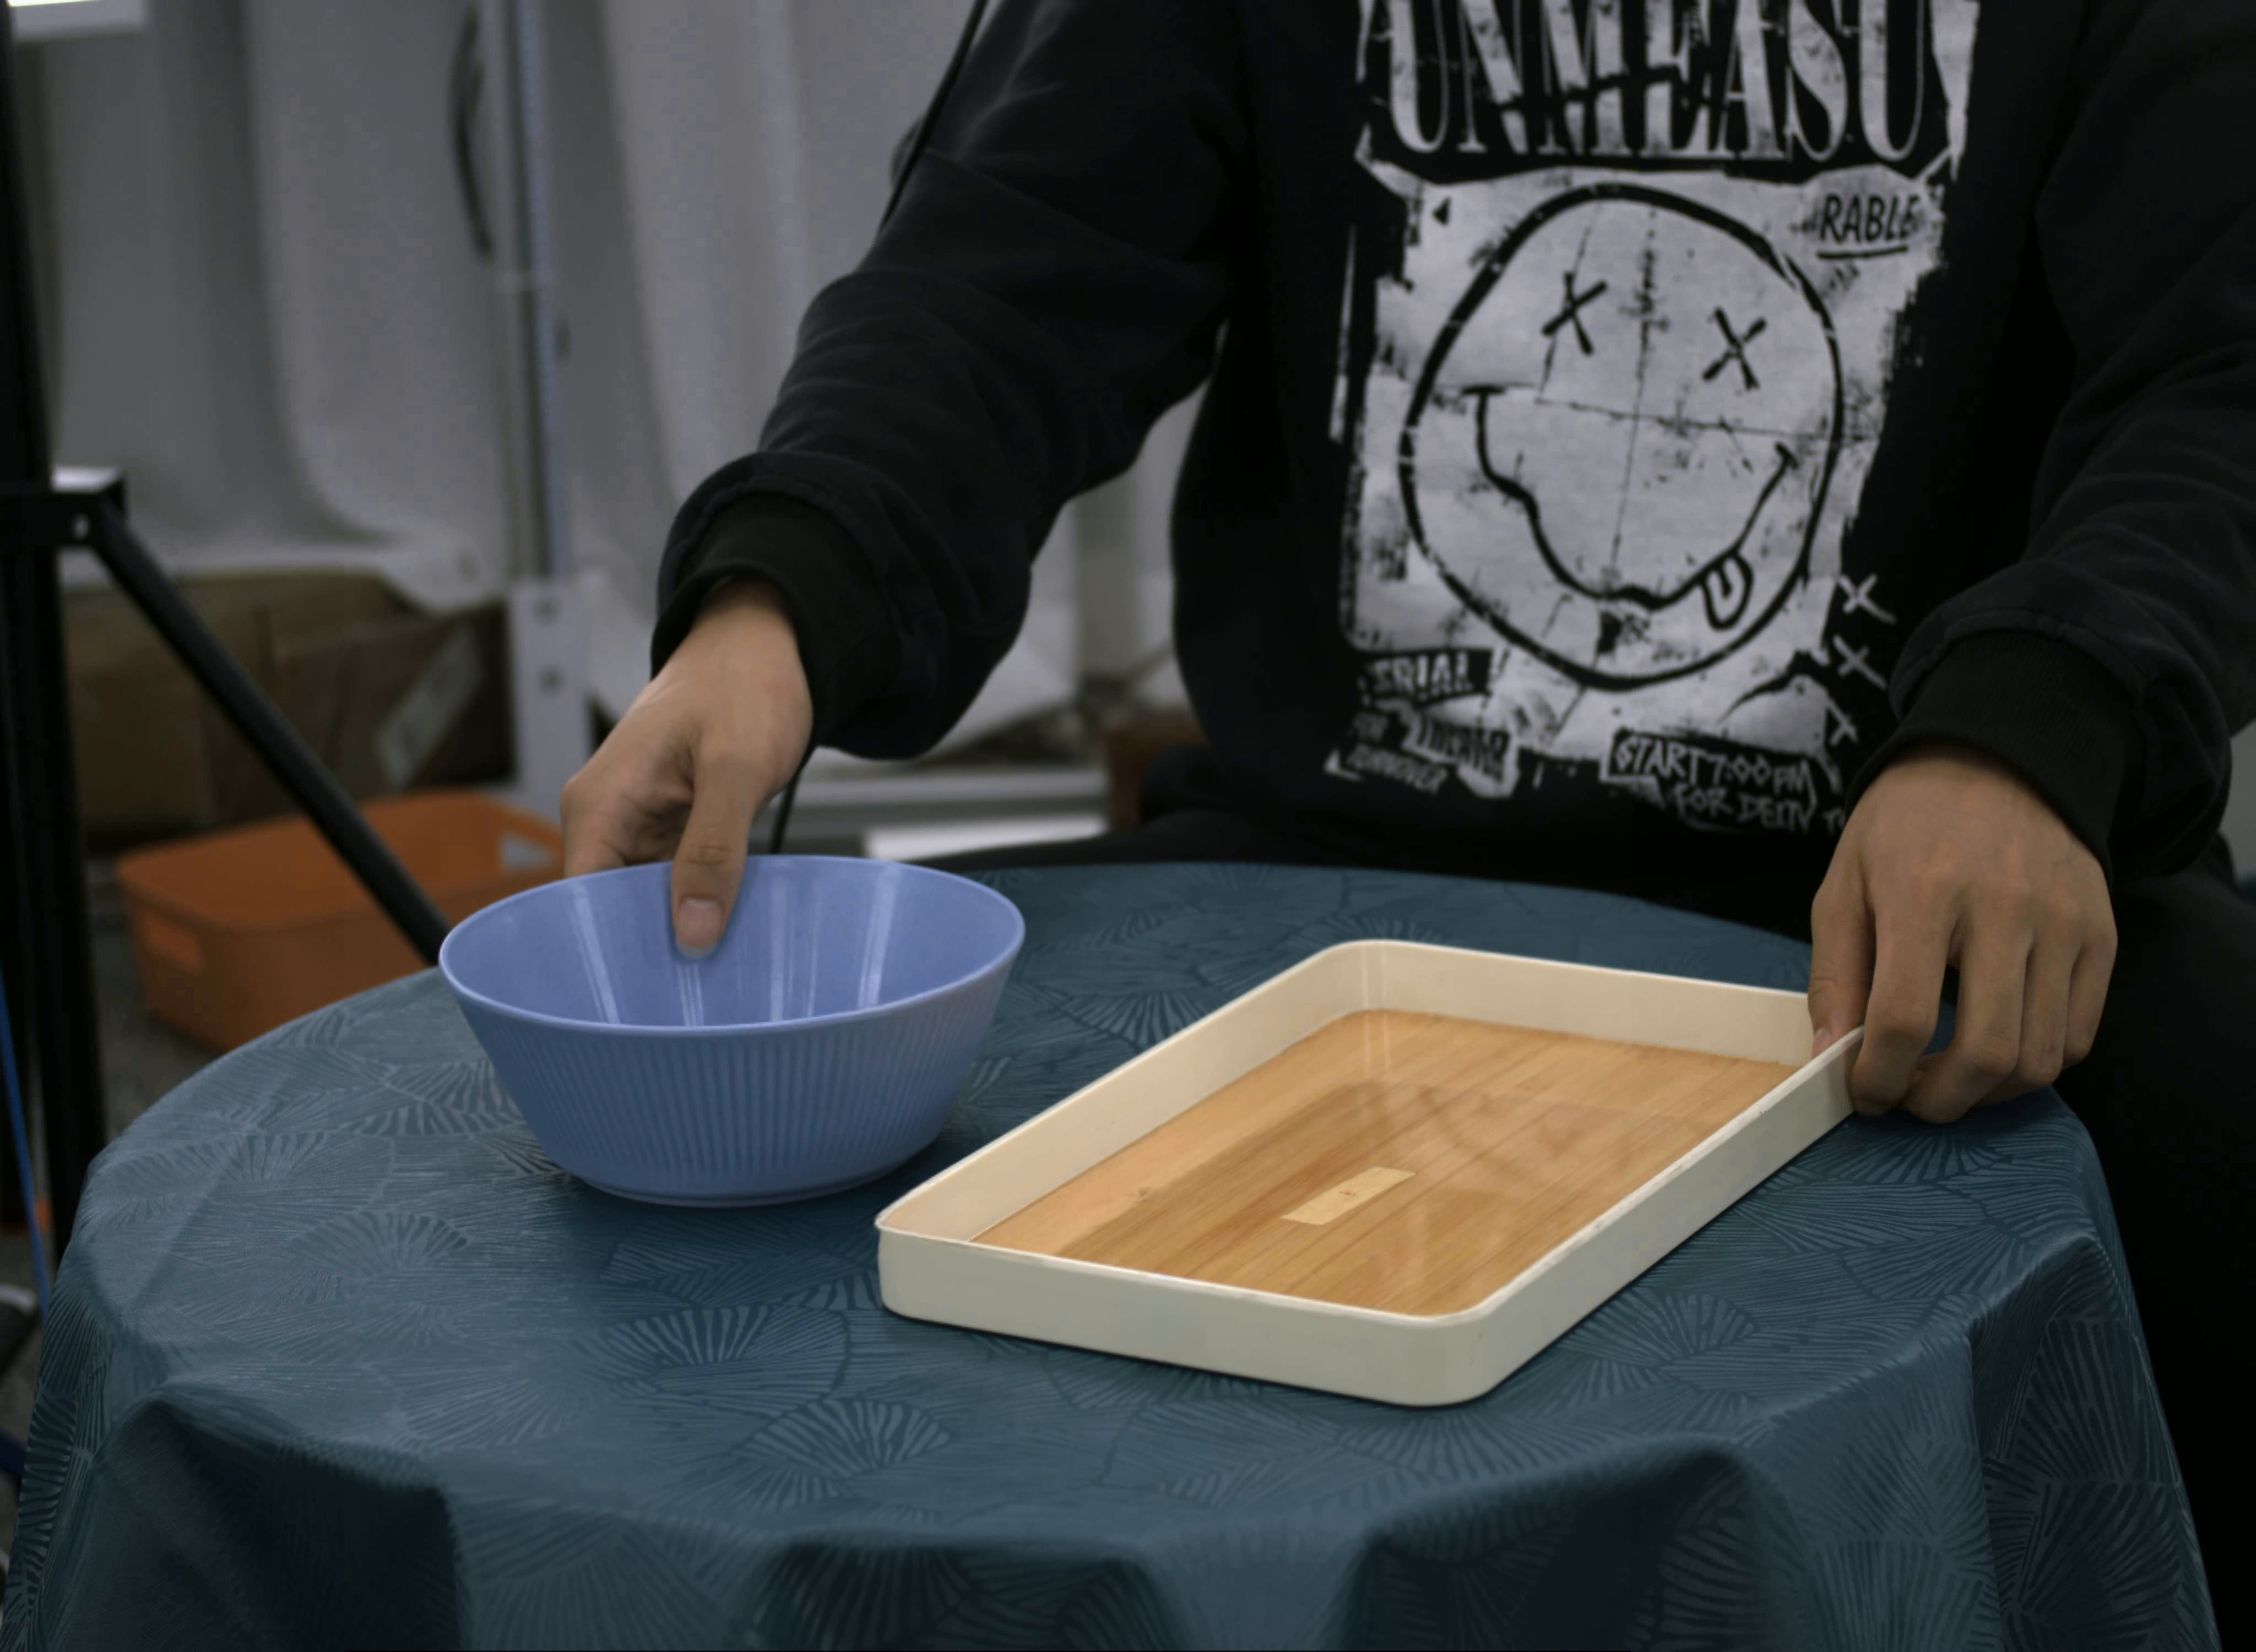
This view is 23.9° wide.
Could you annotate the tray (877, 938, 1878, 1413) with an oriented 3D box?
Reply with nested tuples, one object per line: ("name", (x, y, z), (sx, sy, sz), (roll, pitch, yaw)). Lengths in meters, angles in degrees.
("tray", (0.079, 0.096, 1.540), (0.195, 0.027, 0.295), (8, 19, 30))

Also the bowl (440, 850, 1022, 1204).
("bowl", (-0.118, 0.063, 1.606), (0.175, 0.070, 0.177), (-2, 17, -1))
